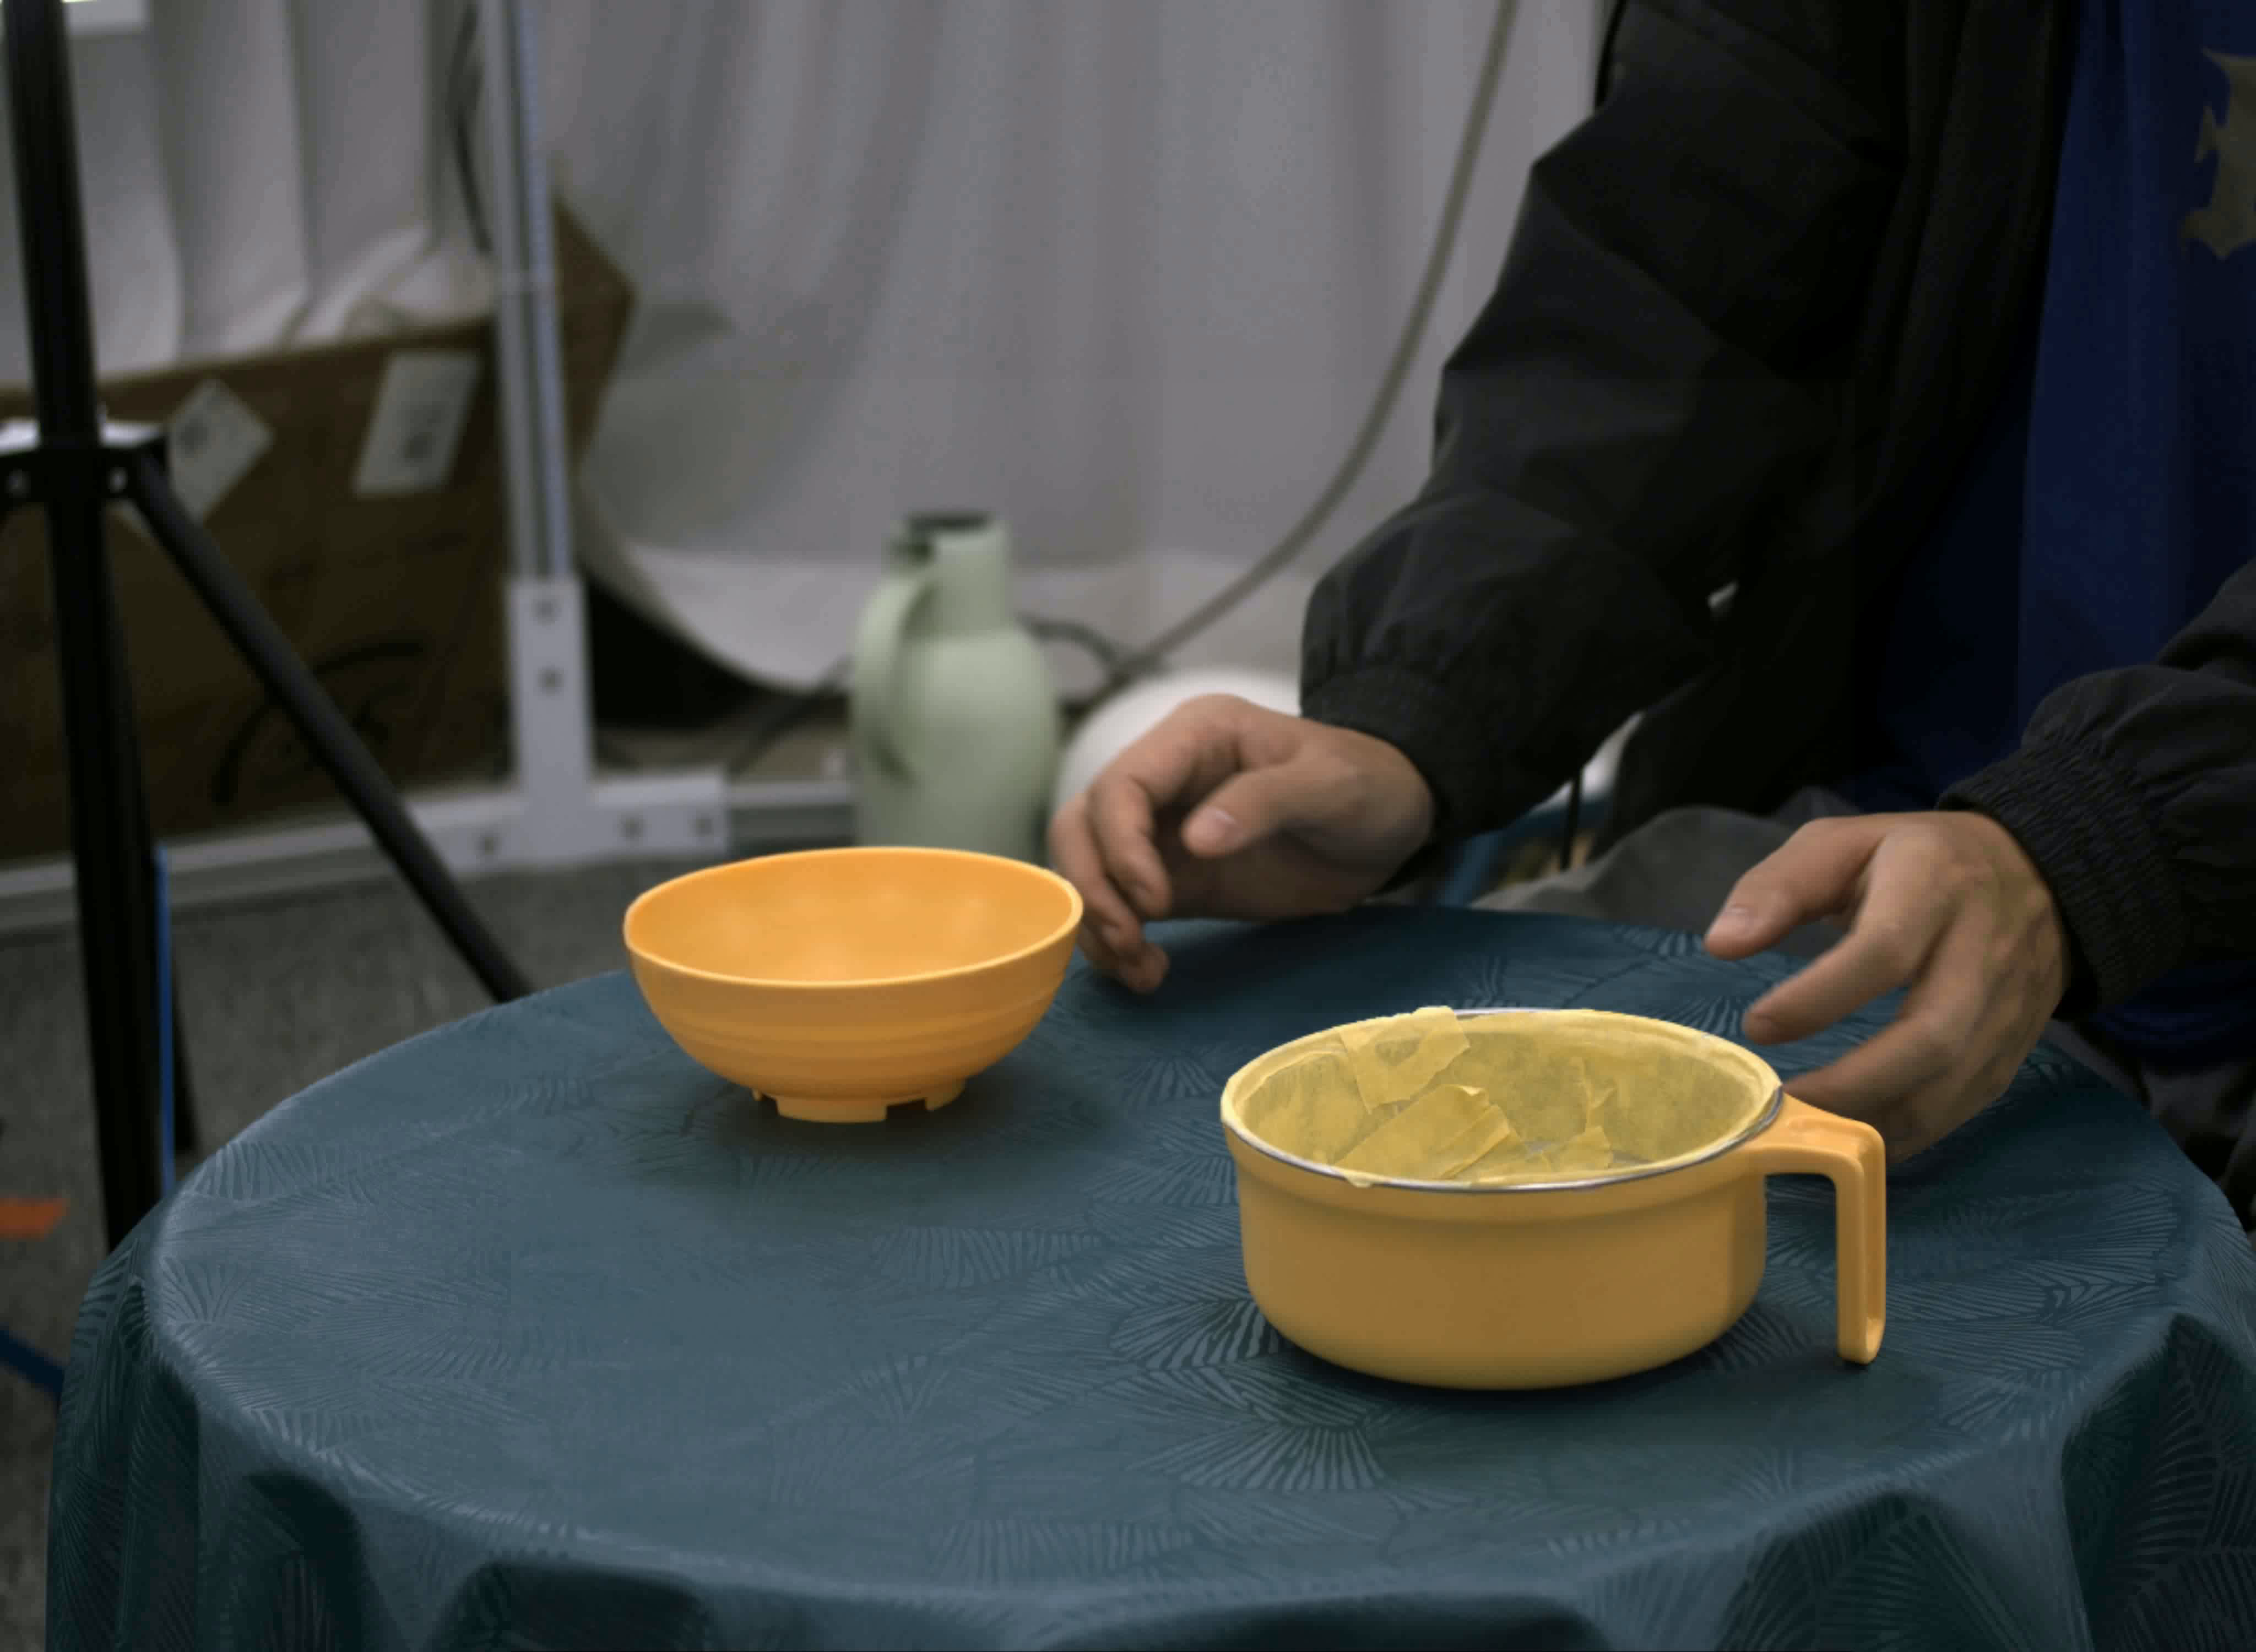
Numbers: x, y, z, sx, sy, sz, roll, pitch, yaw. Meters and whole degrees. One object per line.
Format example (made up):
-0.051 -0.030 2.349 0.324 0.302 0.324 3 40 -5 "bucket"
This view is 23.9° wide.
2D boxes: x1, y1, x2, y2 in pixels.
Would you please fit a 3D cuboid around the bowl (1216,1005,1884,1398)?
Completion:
0.114 0.104 1.428 0.181 0.074 0.151 2 14 18 "bowl"

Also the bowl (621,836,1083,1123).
-0.085 0.053 1.658 0.144 0.060 0.146 -1 18 -1 "bowl"
